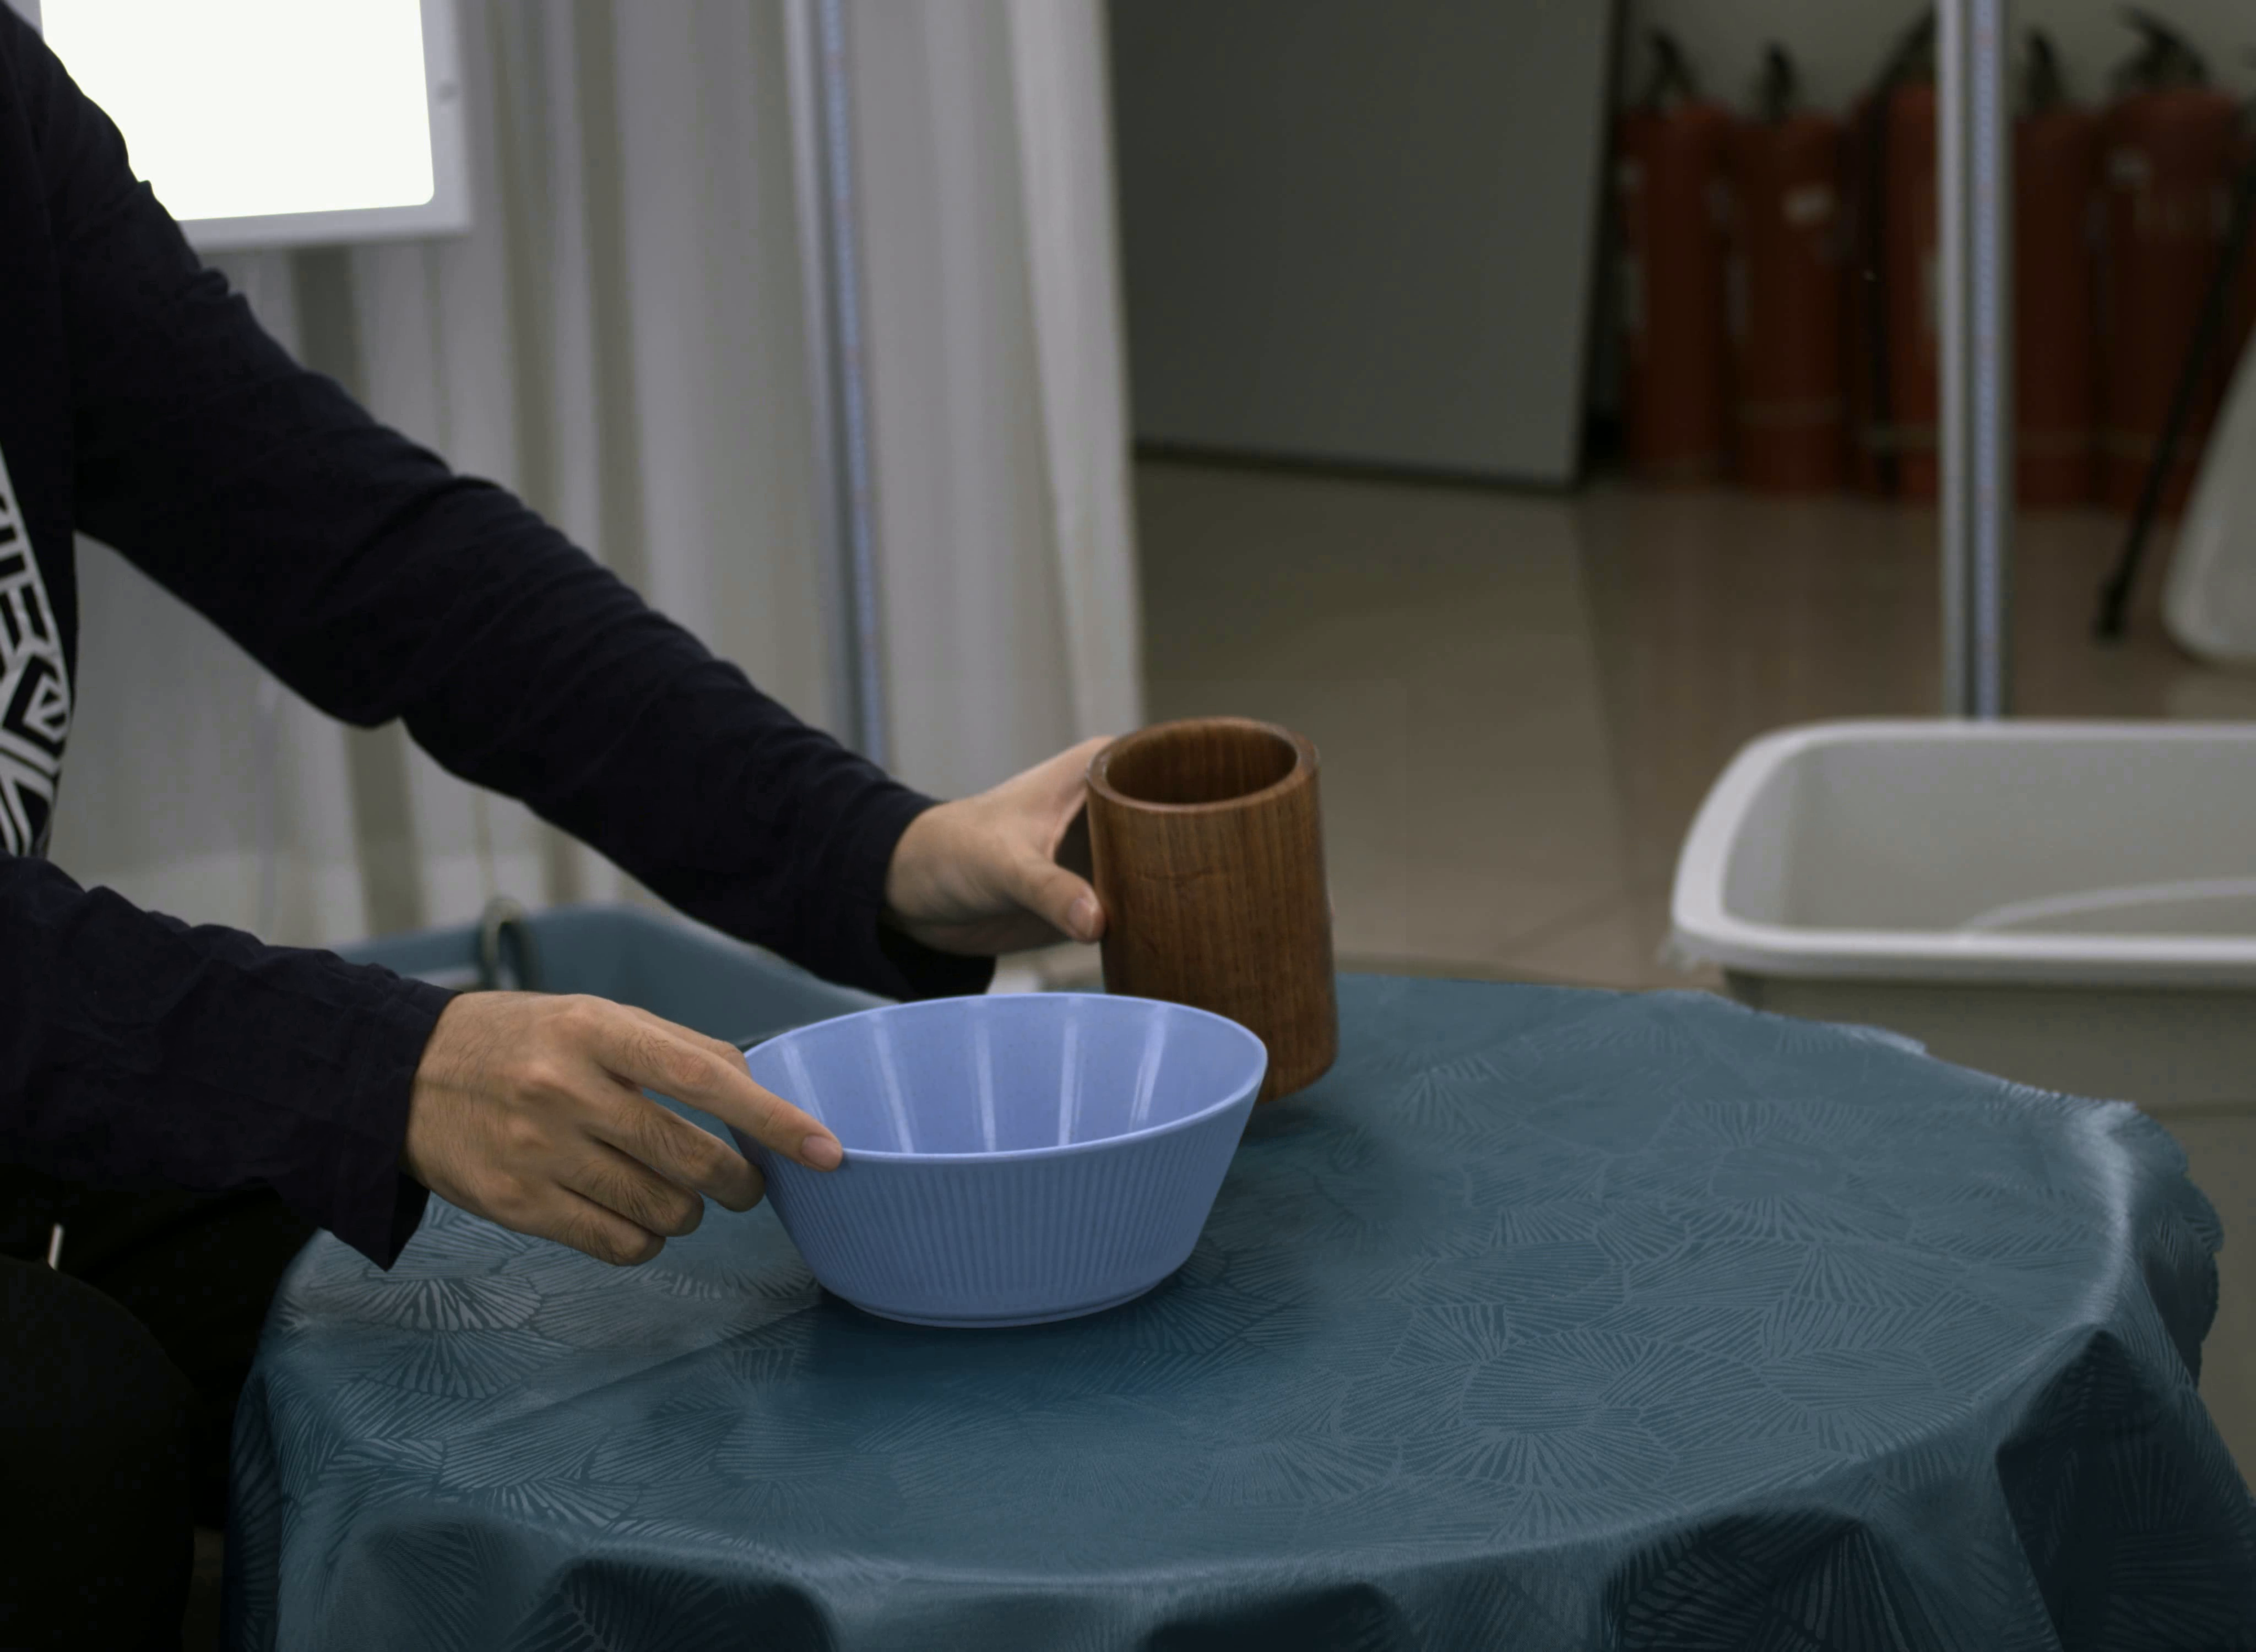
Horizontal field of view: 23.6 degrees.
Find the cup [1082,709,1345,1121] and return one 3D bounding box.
[{"bbox_3d":[0.030,0.030,1.819,0.086,0.119,0.088,-6,21,1],"label":"cup"}]

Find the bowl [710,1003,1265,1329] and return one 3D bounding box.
[{"bbox_3d":[-0.042,0.108,1.693,0.174,0.071,0.176,-4,13,0],"label":"bowl"}]
